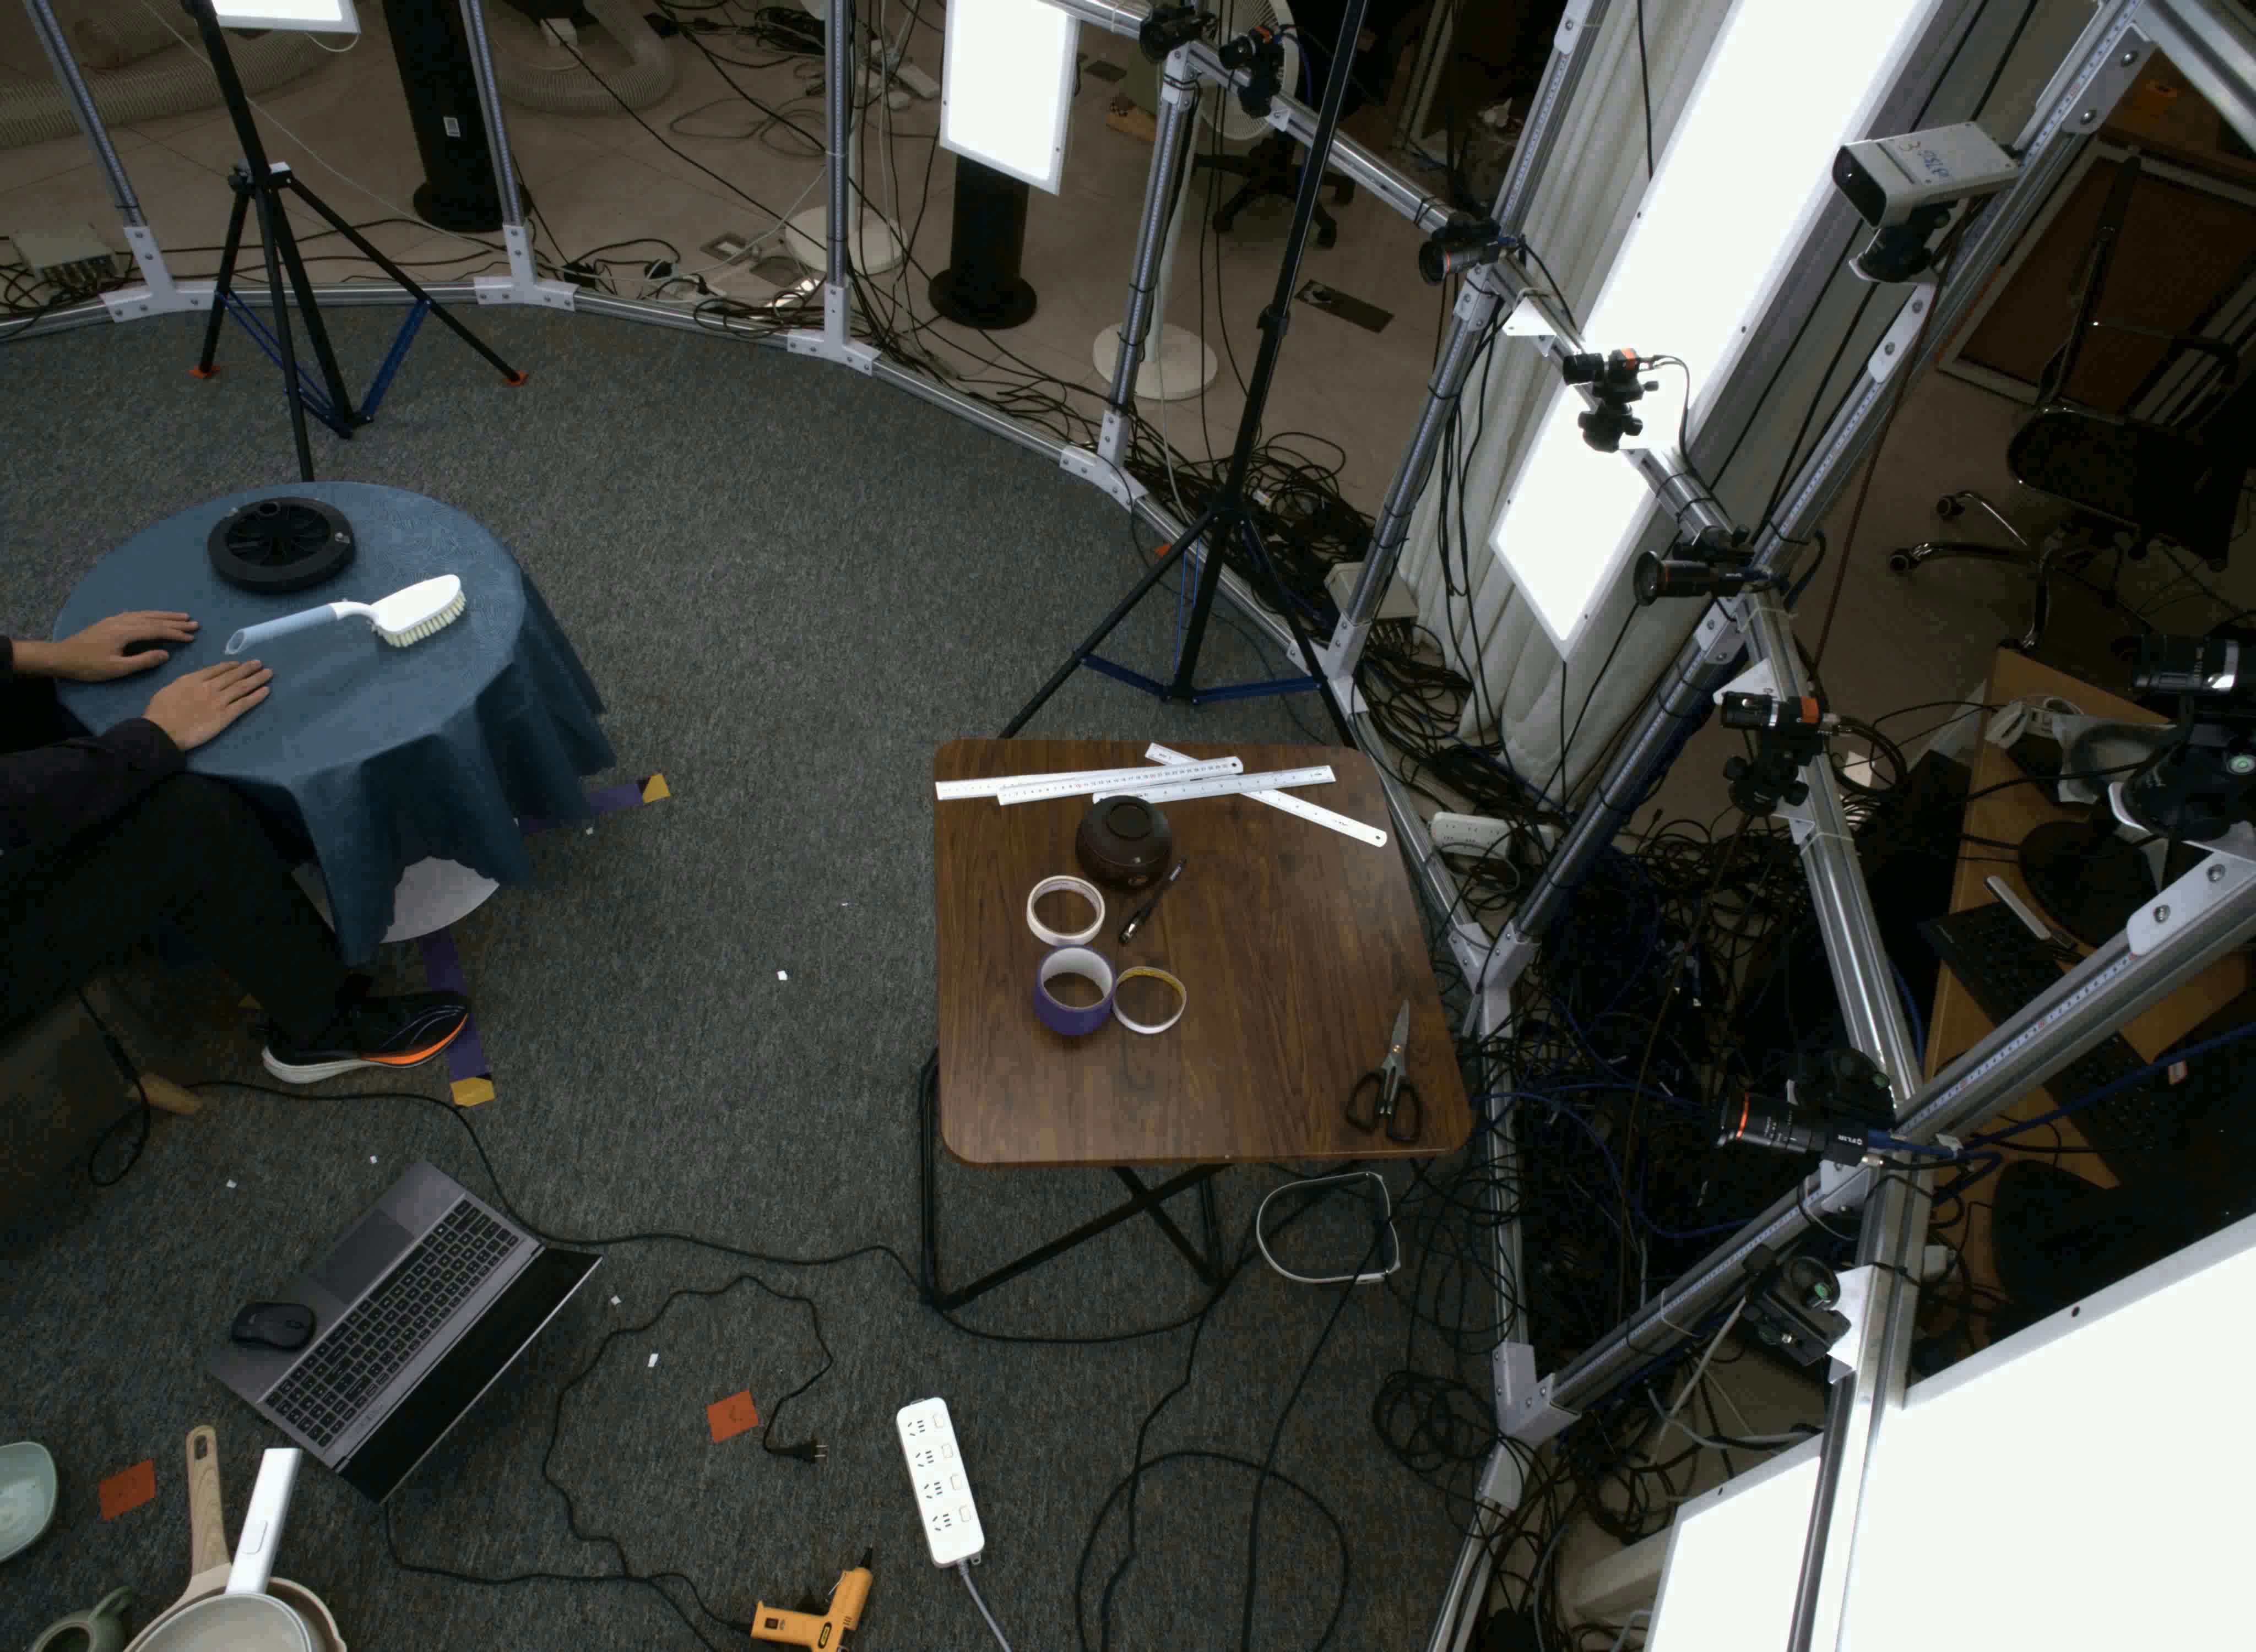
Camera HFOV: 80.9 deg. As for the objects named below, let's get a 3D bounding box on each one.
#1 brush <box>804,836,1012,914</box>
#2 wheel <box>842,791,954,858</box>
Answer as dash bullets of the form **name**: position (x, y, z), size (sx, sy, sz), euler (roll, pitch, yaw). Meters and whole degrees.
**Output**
- **brush**: position (-0.331, 0.083, 1.962), size (0.330, 0.084, 0.082), euler (10, -16, -25)
- **wheel**: position (-0.385, -0.016, 2.176), size (0.184, 0.081, 0.188), euler (10, 25, 6)
